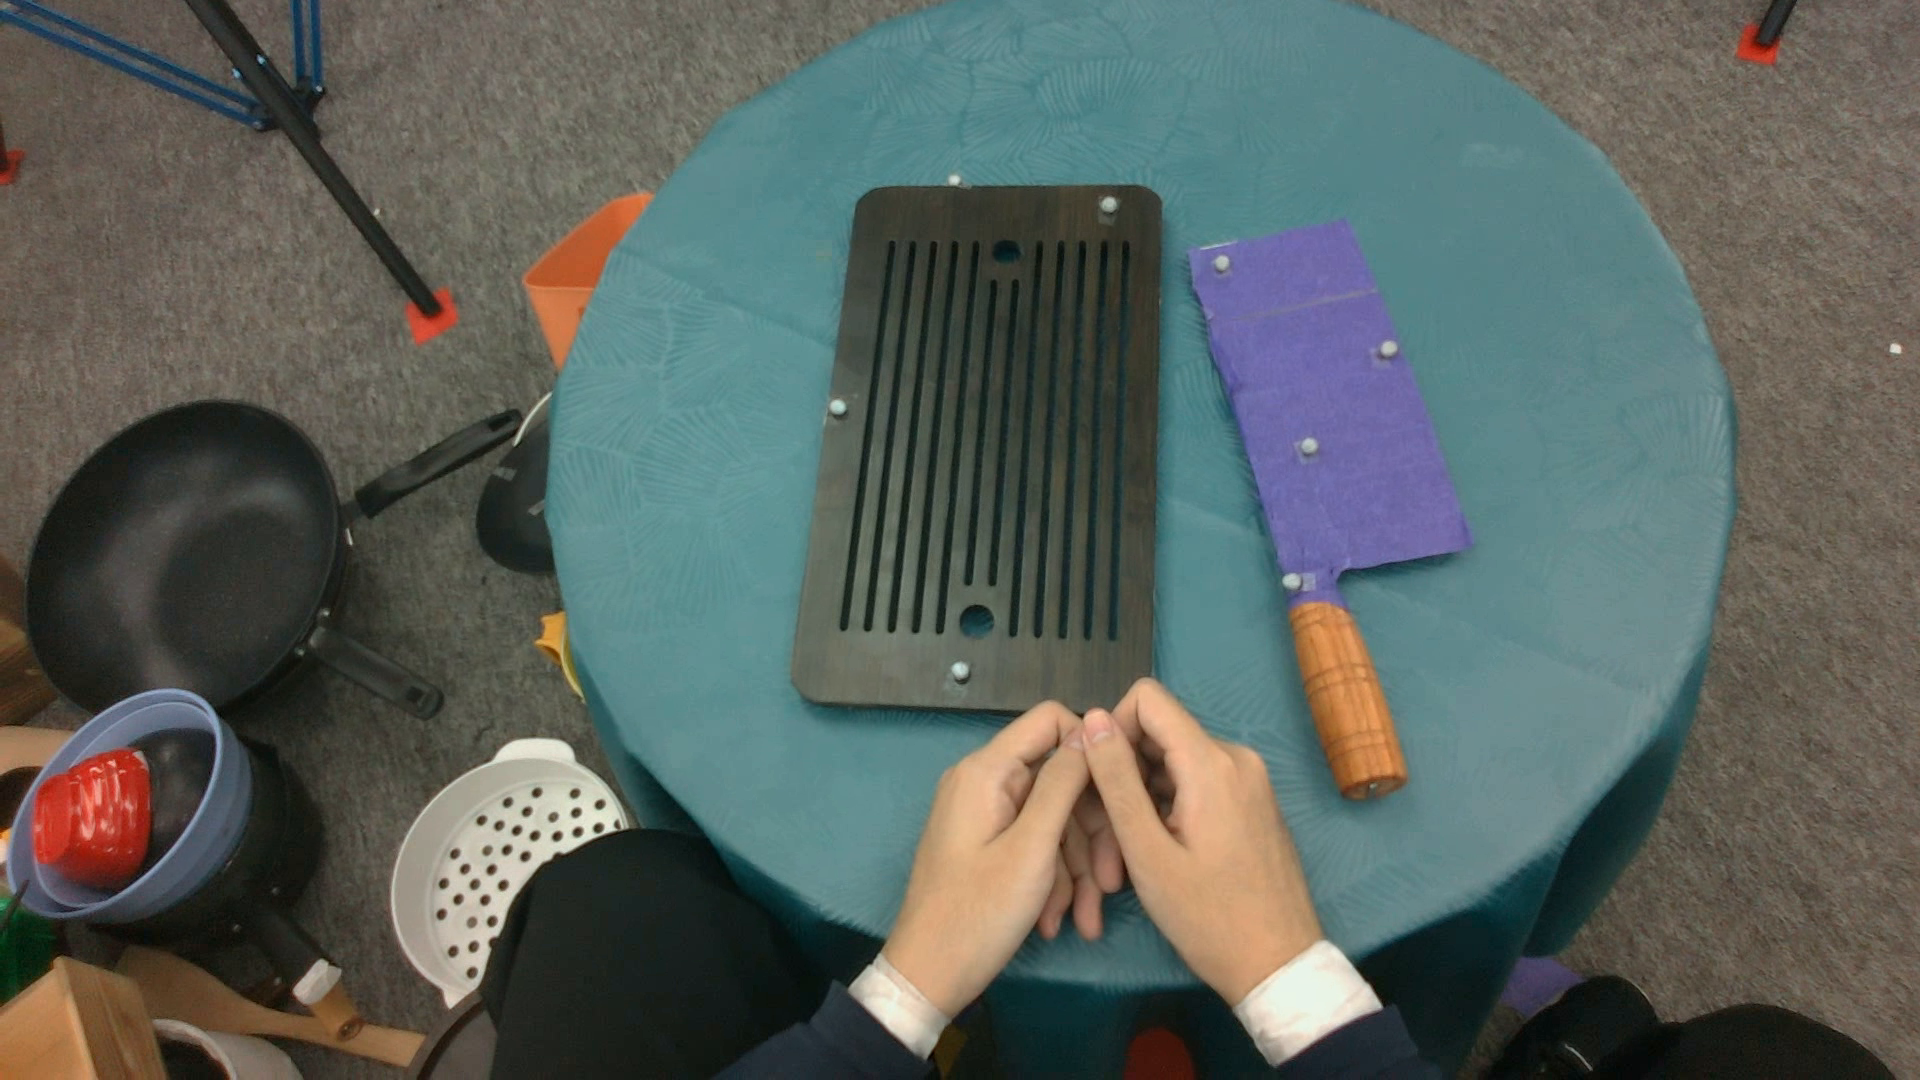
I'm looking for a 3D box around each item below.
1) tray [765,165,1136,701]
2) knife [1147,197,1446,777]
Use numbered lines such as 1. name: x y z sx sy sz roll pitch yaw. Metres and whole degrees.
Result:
1. tray: 0.002 -0.065 0.699 0.170 0.018 0.307 1 65 6
2. knife: 0.177 -0.045 0.667 0.104 0.032 0.316 -12 63 0
